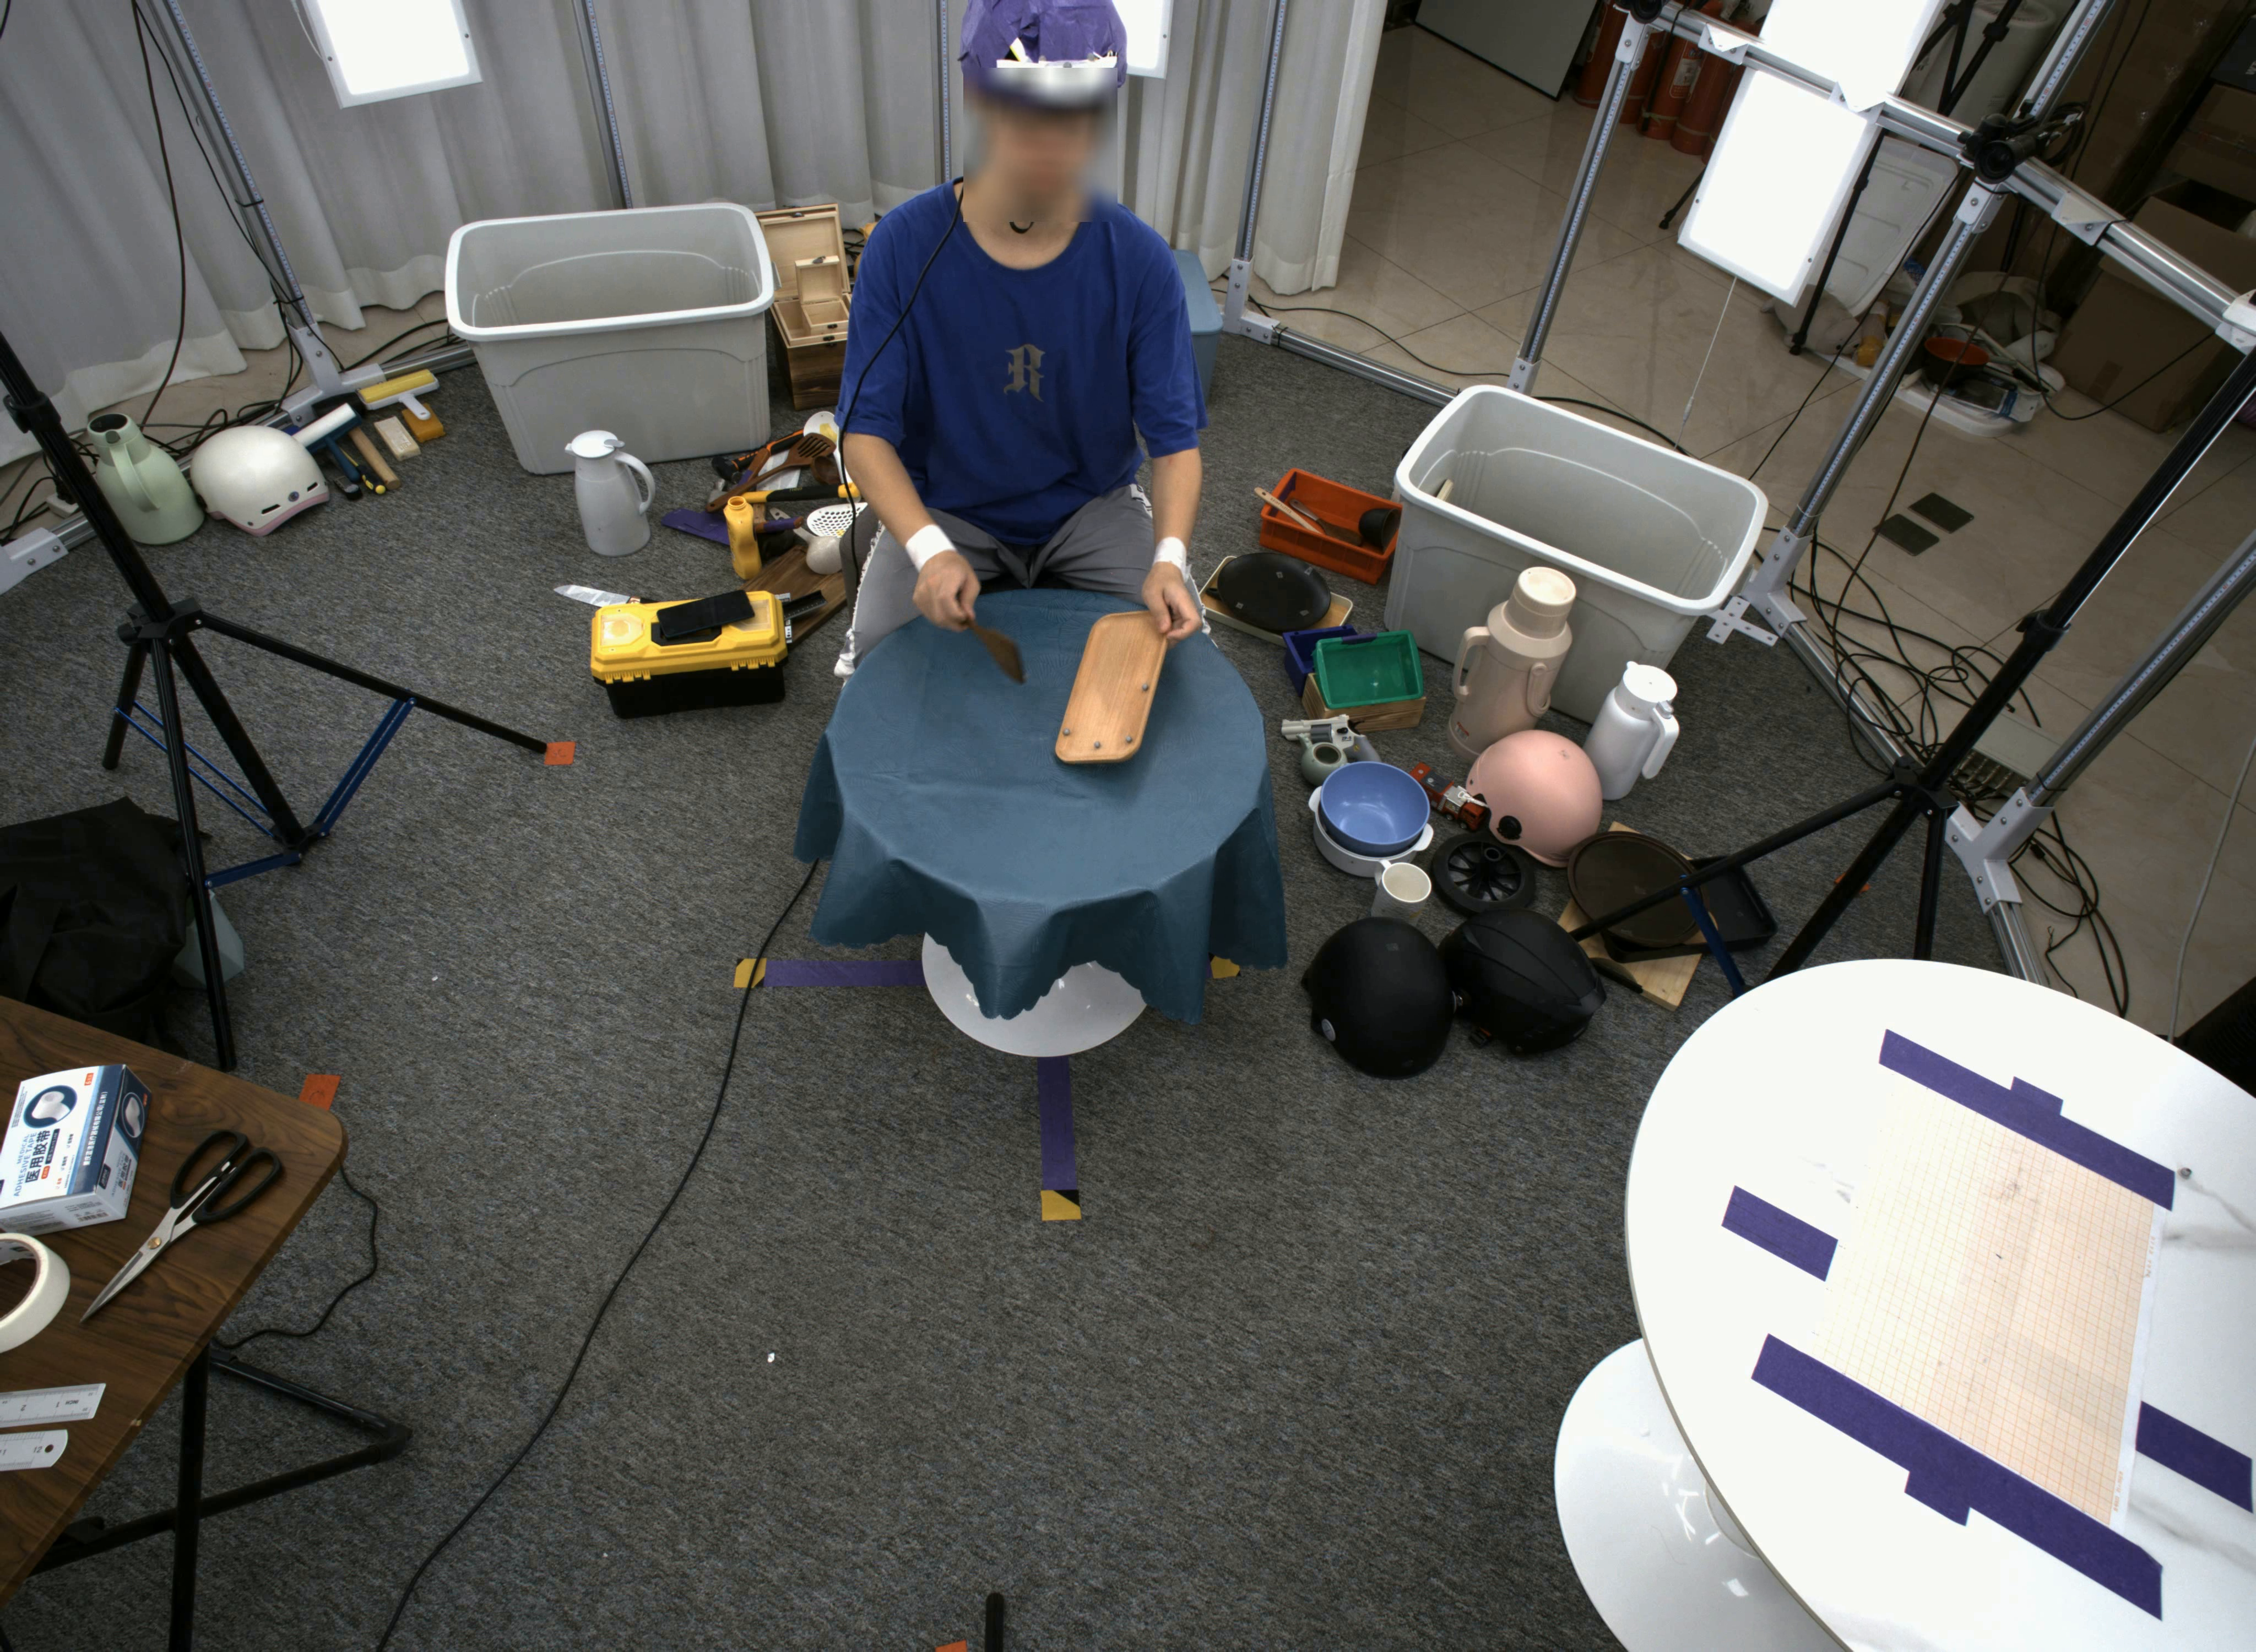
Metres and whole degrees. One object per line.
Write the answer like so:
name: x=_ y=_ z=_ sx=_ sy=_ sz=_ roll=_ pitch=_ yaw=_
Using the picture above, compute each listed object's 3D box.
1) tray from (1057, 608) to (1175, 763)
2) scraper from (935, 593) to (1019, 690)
tray: x=-0.015 y=-0.195 z=1.772 sx=0.131 sy=0.022 sz=0.255 roll=3 pitch=60 yaw=25
scraper: x=-0.206 y=-0.255 z=1.719 sx=0.011 sy=0.074 sz=0.215 roll=-30 pitch=49 yaw=-16
